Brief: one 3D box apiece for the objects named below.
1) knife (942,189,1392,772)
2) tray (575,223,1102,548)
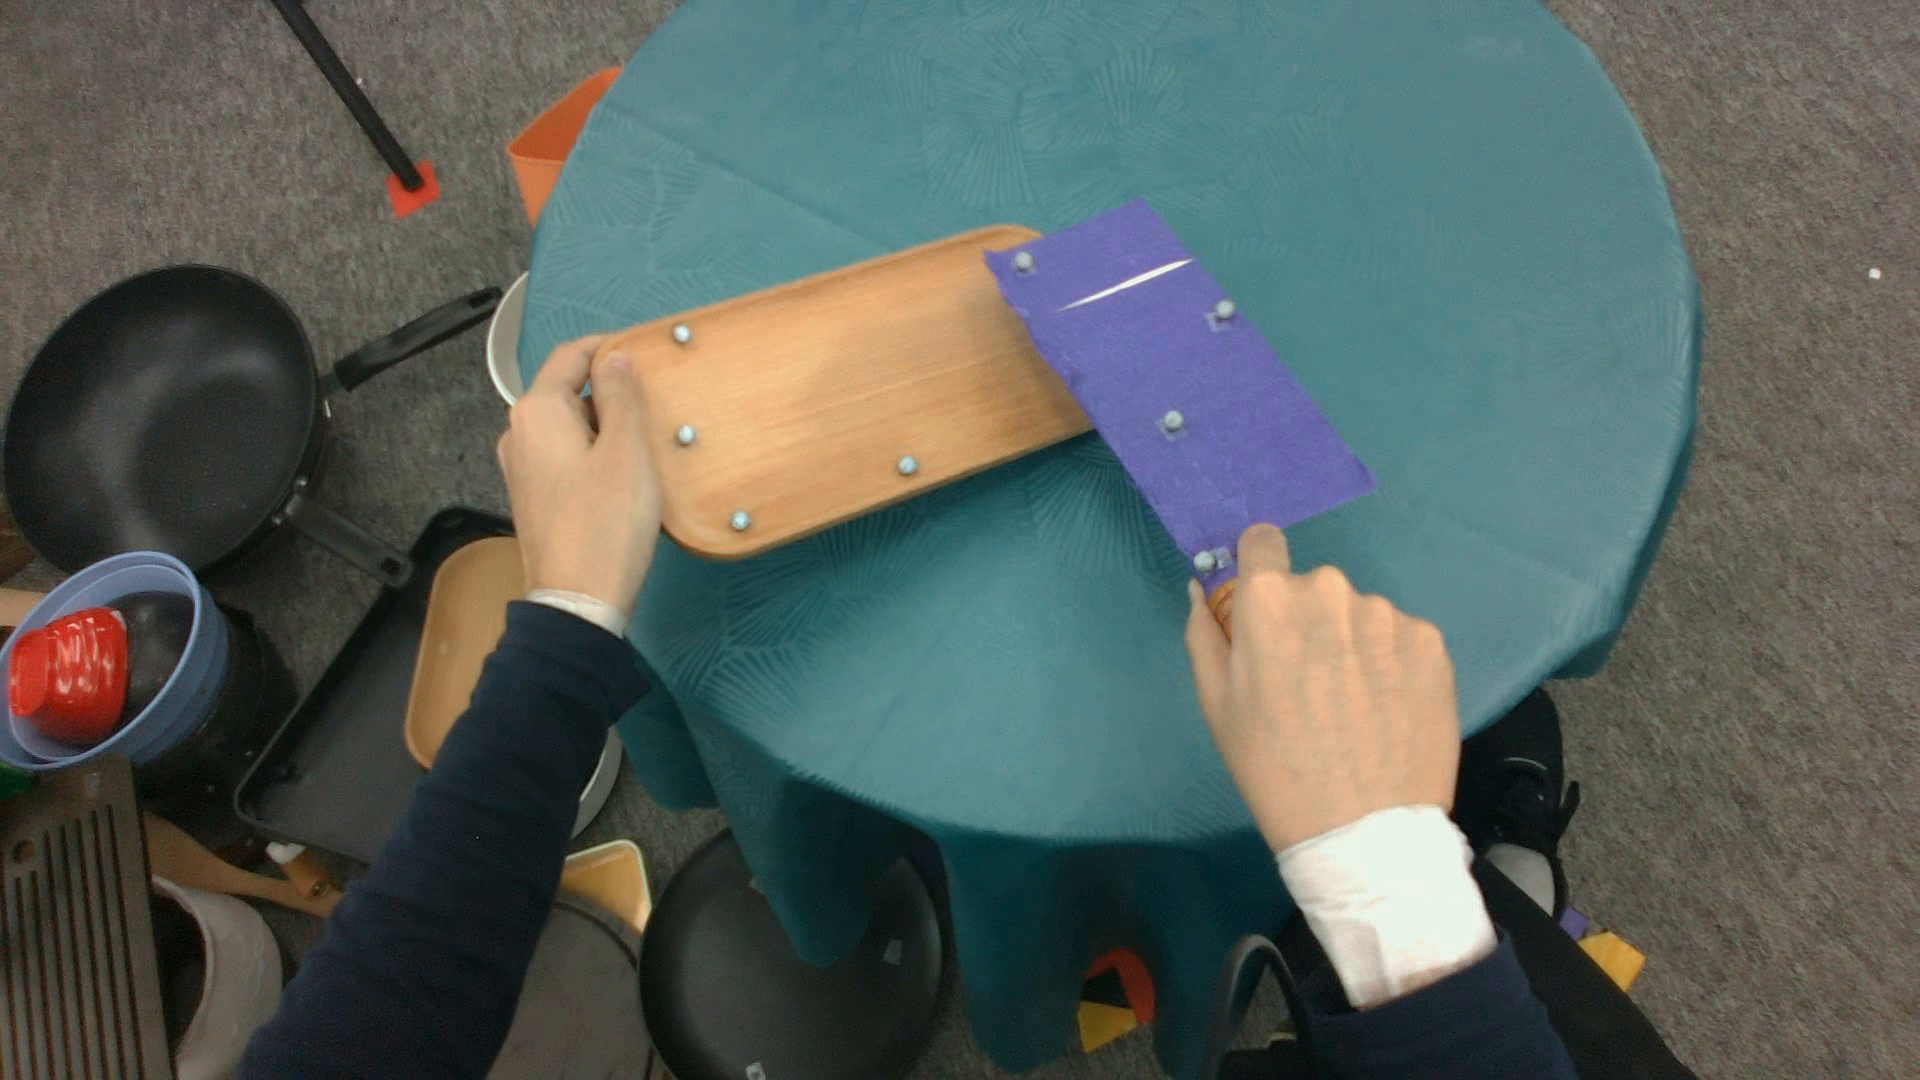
[{"bbox_3d":[0.103,-0.050,0.585,0.104,0.032,0.316,-23,58,-12],"label":"knife"},{"bbox_3d":[-0.045,-0.079,0.648,0.251,0.023,0.131,-19,67,-25],"label":"tray"}]
